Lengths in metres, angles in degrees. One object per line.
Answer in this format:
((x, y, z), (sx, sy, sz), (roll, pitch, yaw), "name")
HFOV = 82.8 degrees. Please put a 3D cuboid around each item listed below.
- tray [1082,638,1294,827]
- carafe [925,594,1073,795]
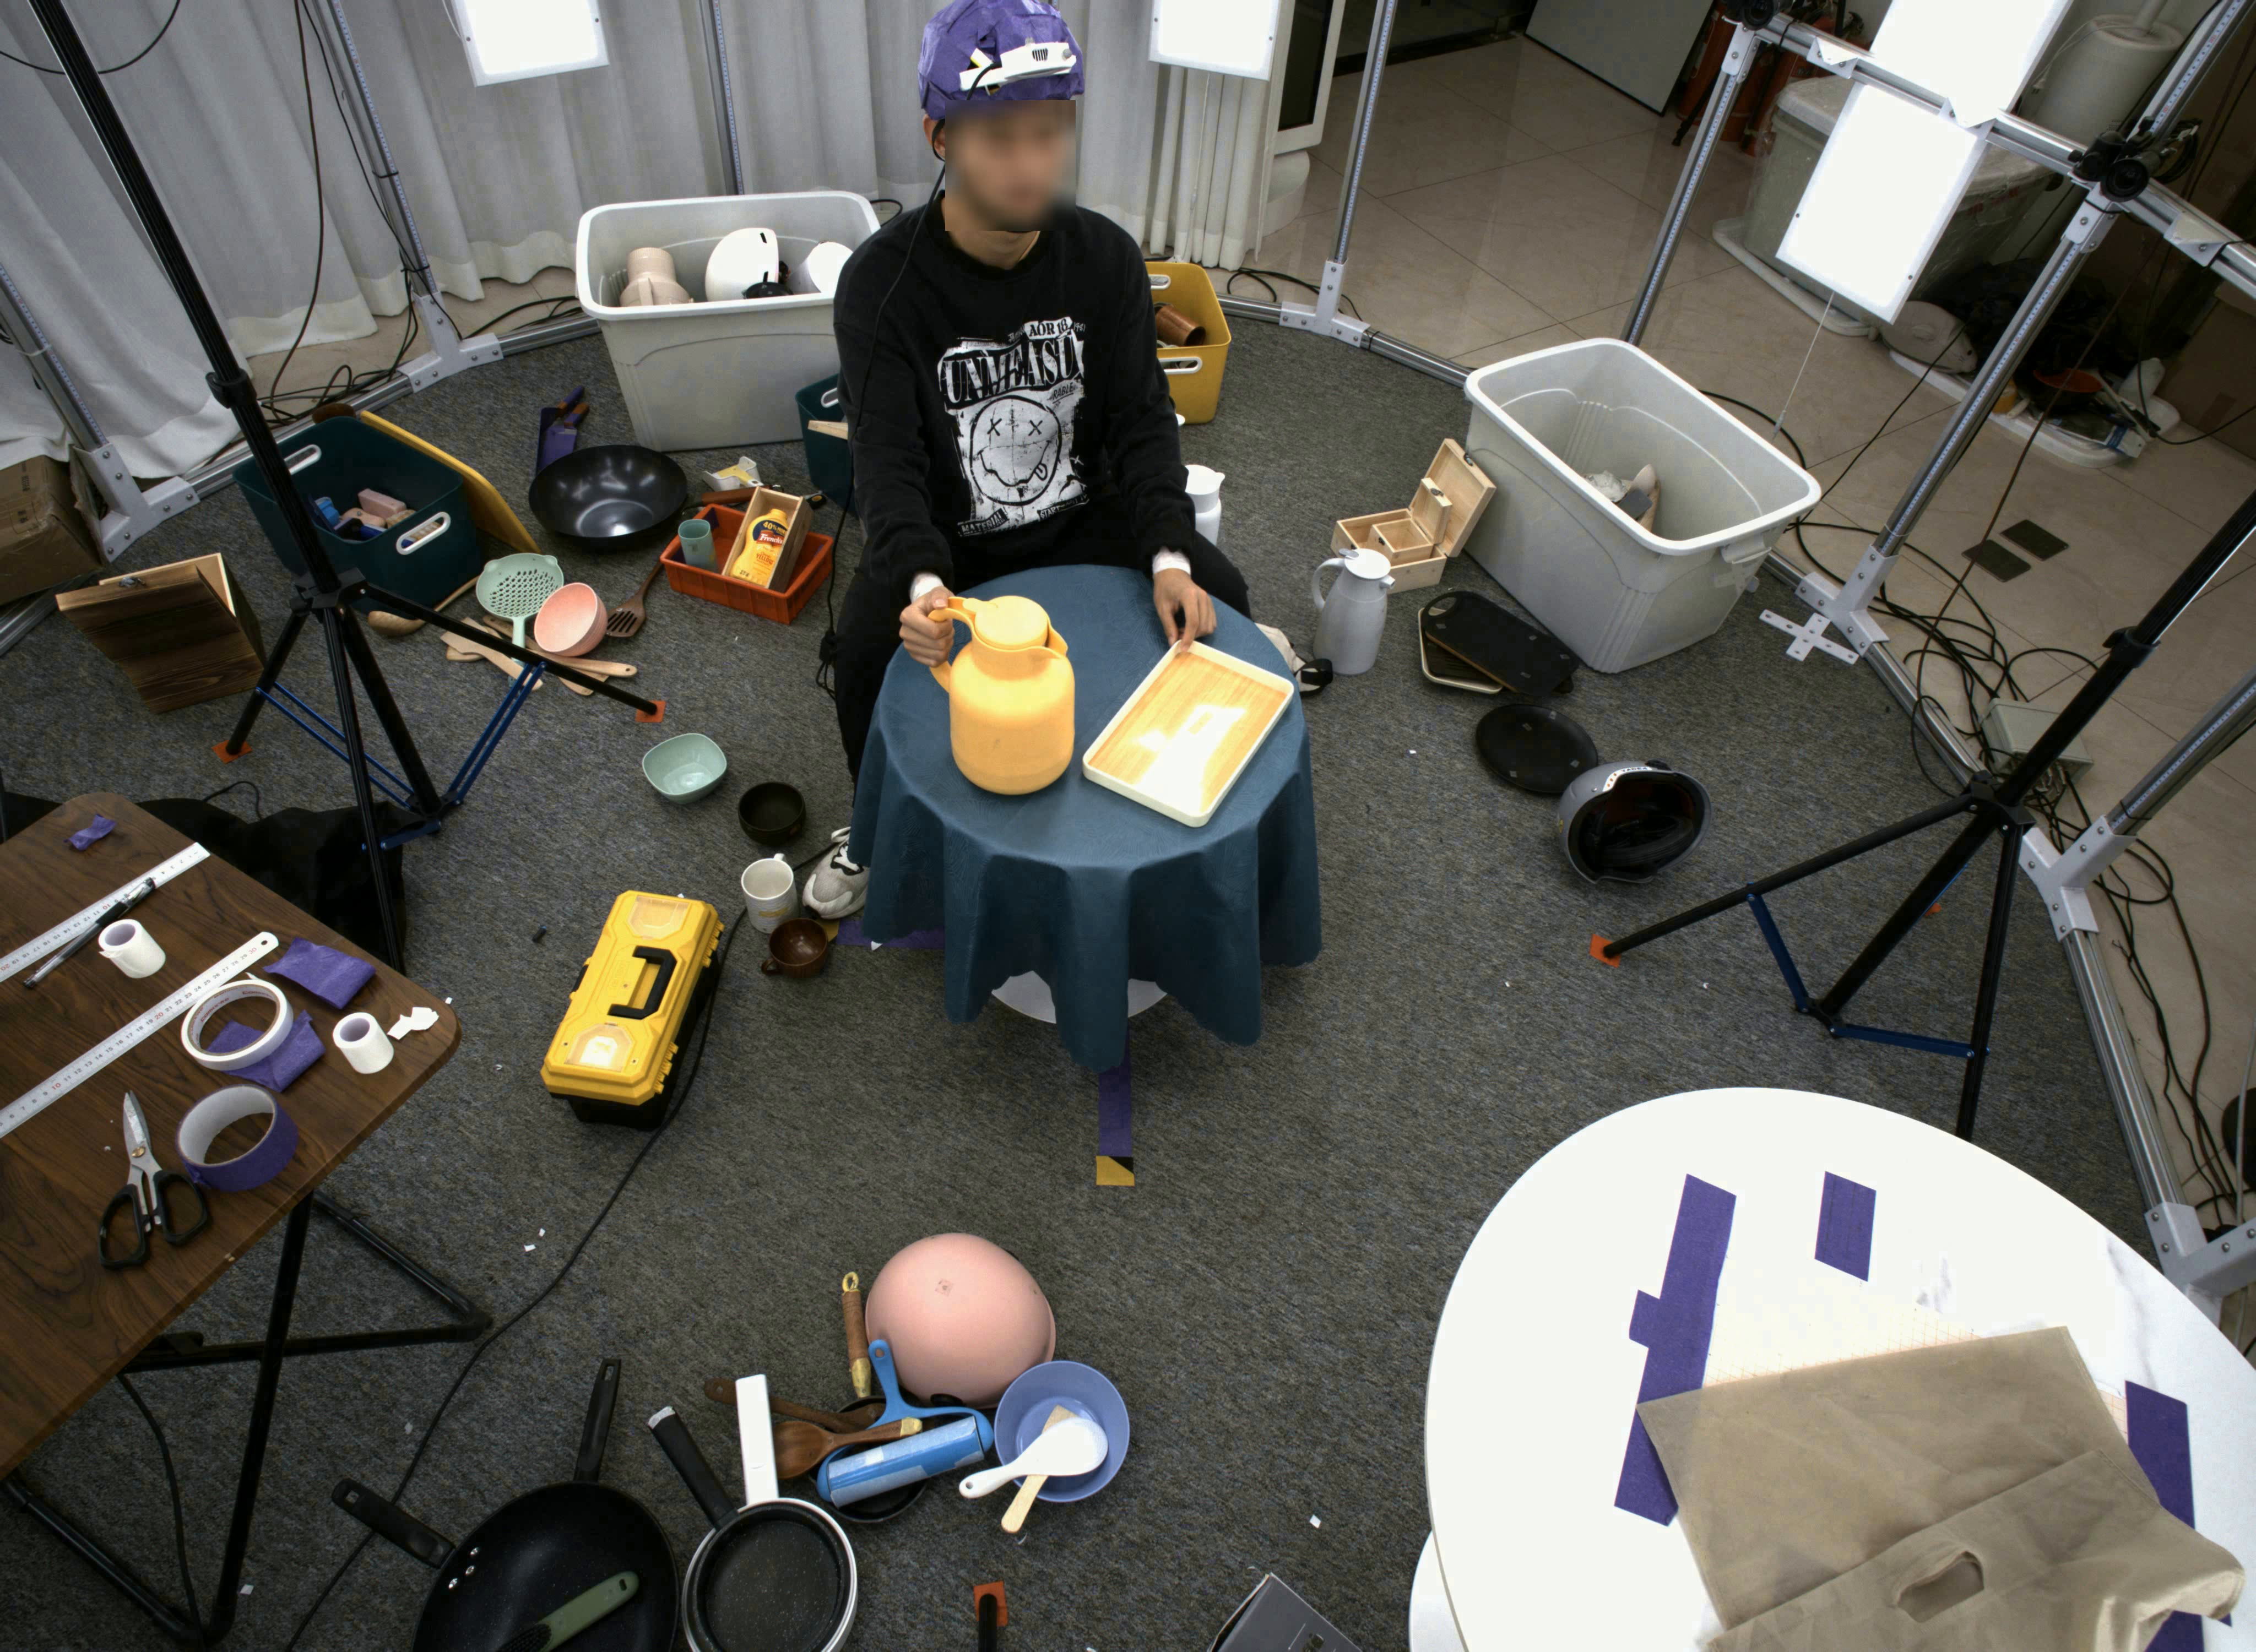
((0.086, -0.136, 1.775), (0.193, 0.027, 0.305), (25, 52, 17), "tray")
((-0.167, -0.180, 1.646), (0.204, 0.254, 0.166), (27, 51, 17), "carafe")
